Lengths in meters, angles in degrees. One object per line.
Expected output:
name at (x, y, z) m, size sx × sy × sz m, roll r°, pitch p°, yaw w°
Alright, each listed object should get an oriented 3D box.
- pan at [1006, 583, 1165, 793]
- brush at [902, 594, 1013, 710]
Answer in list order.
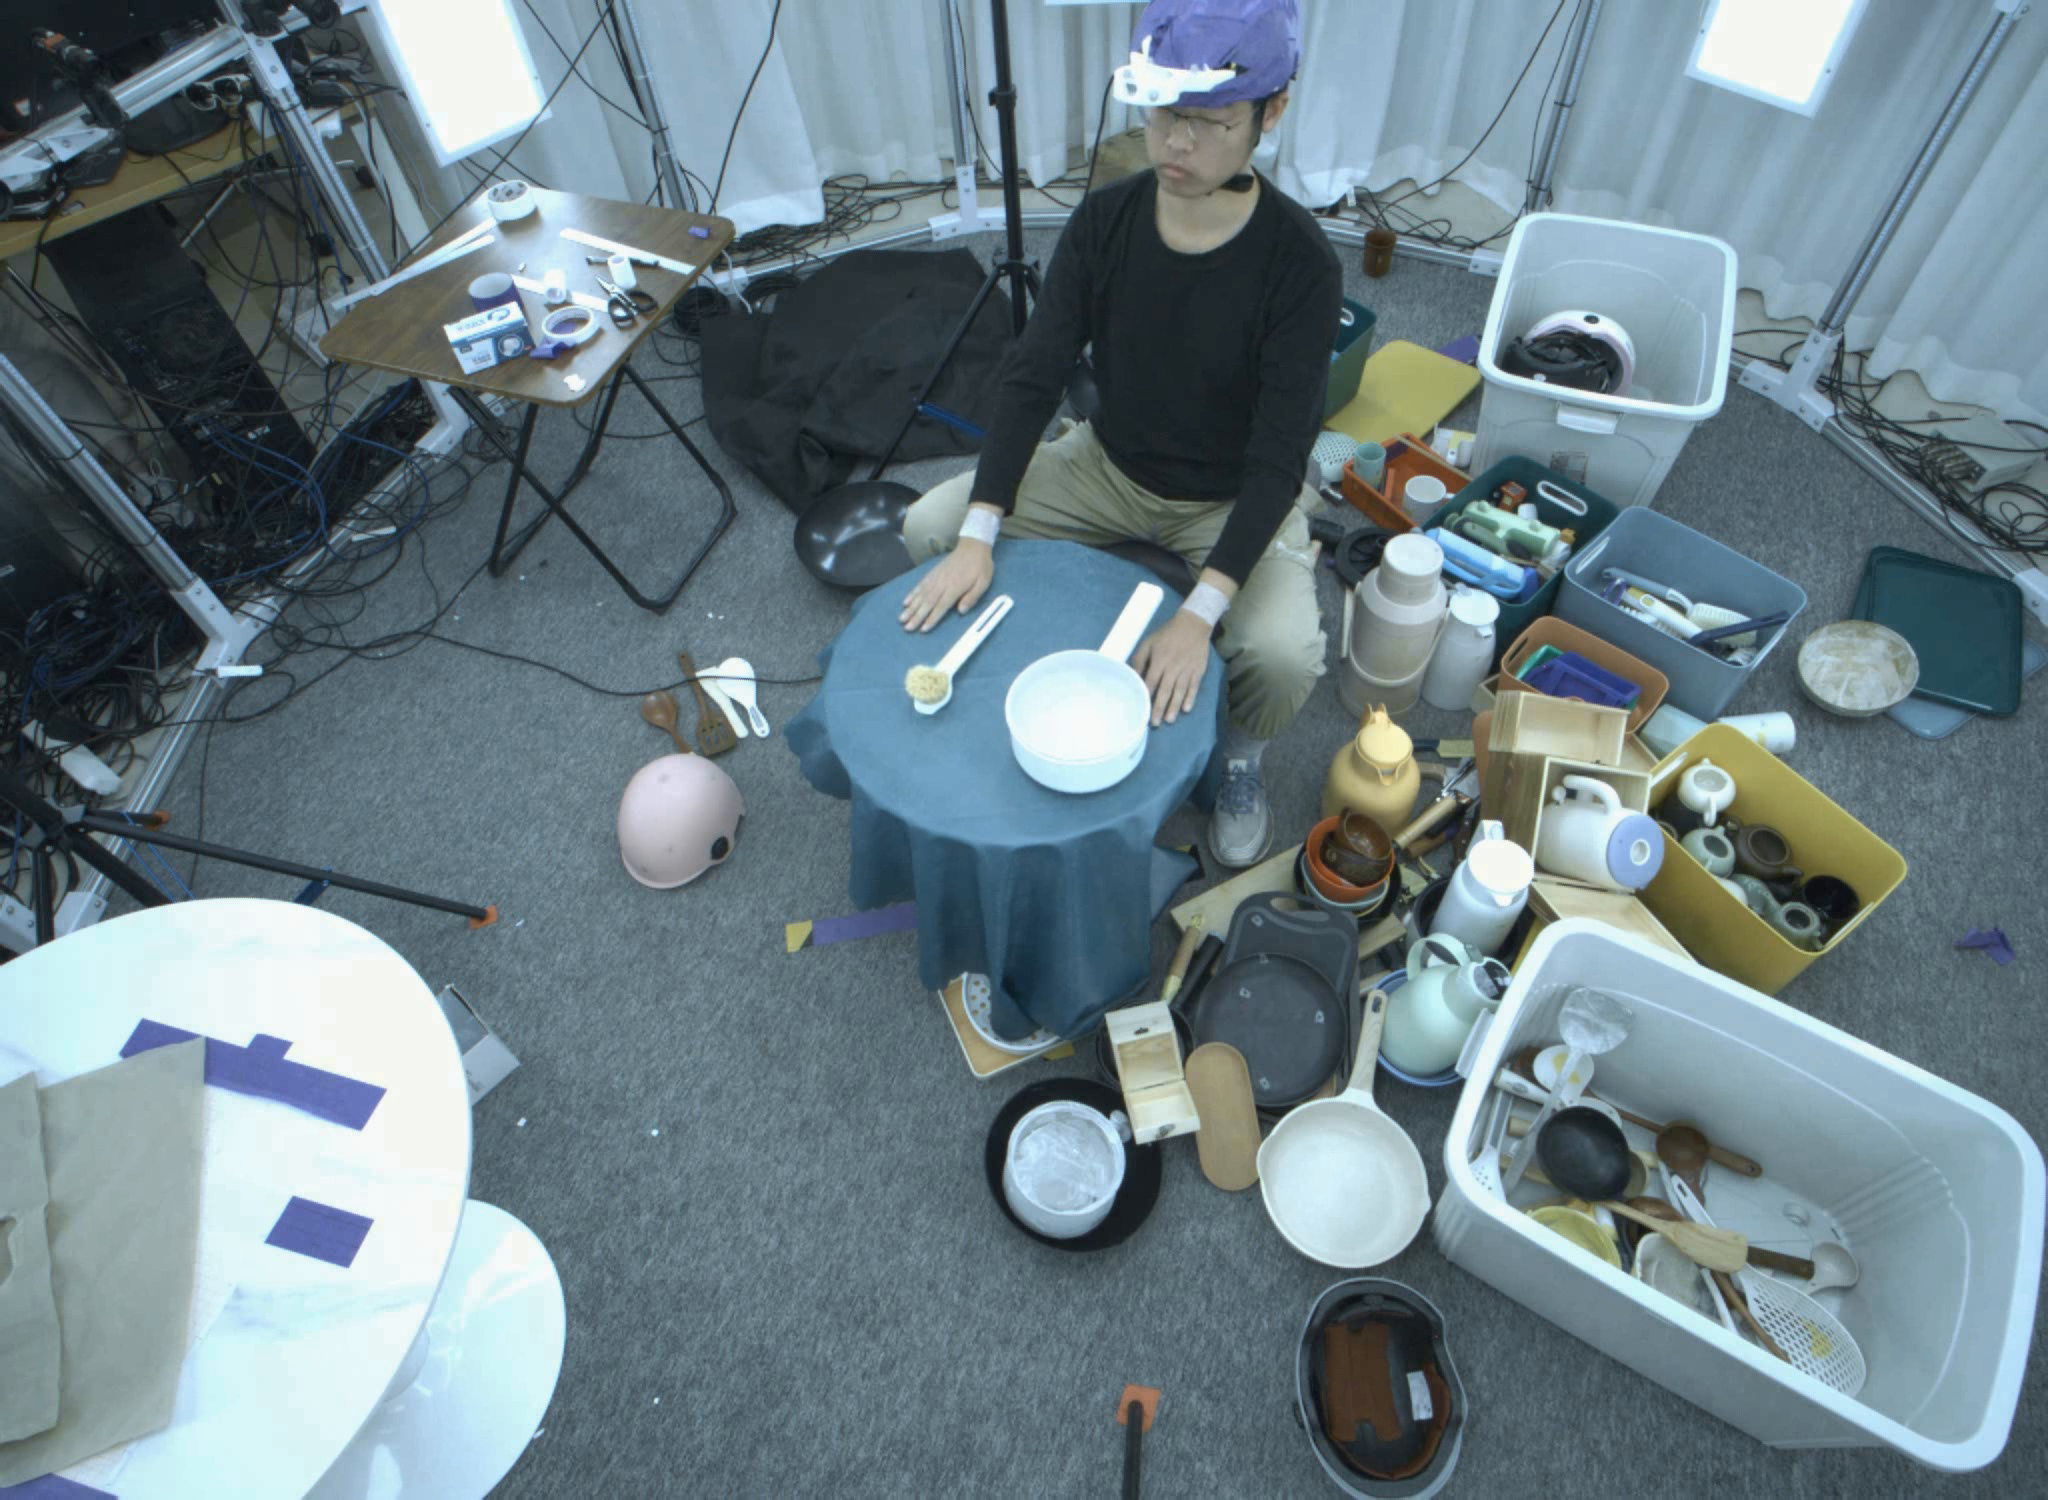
pan at (0.113, -0.091, 1.789) m, size 0.198 × 0.103 × 0.355 m, roll 21°, pitch 57°, yaw 17°
brush at (-0.096, -0.167, 1.876) m, size 0.068 × 0.056 × 0.267 m, roll 27°, pitch 59°, yaw 16°
